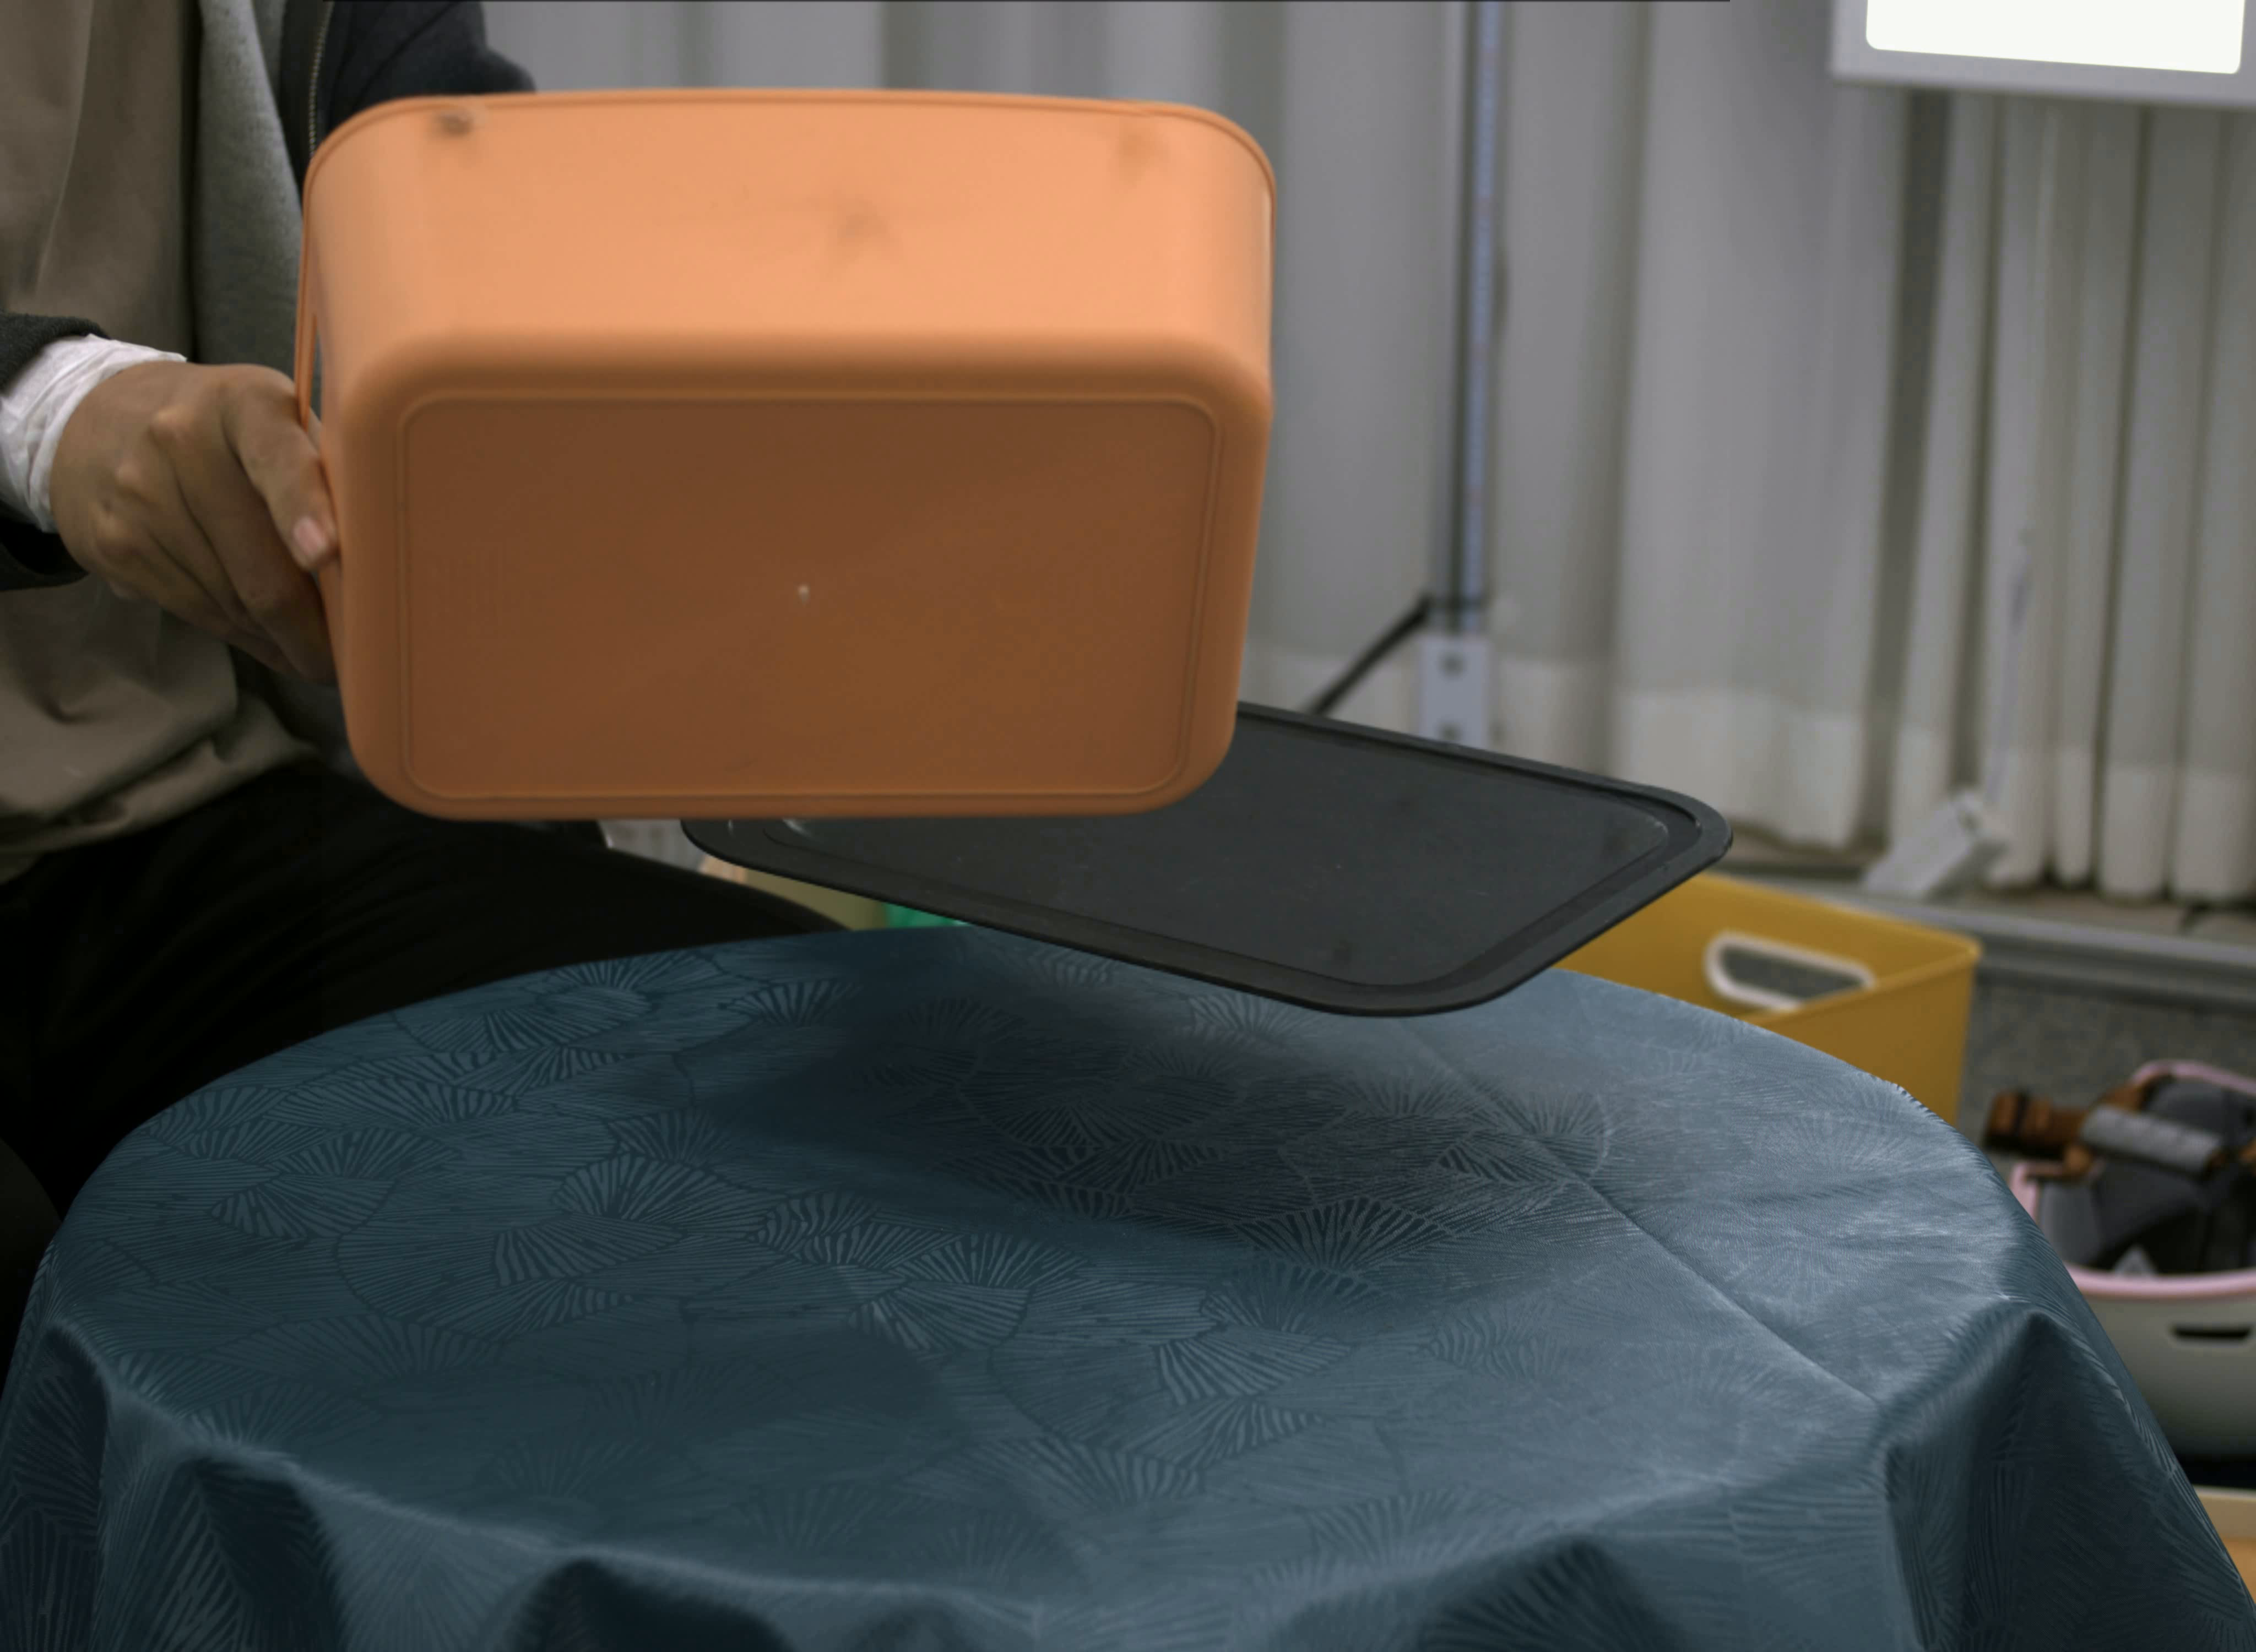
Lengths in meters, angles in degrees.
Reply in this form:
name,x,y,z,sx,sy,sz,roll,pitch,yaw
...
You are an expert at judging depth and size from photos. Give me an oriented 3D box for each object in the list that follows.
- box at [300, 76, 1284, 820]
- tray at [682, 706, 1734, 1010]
name,x,y,z,sx,sy,sz,roll,pitch,yaw
box,-0.091,-0.094,1.438,0.273,0.201,0.101,0,45,-7
tray,0.017,-0.001,1.685,0.321,0.010,0.211,13,25,32
